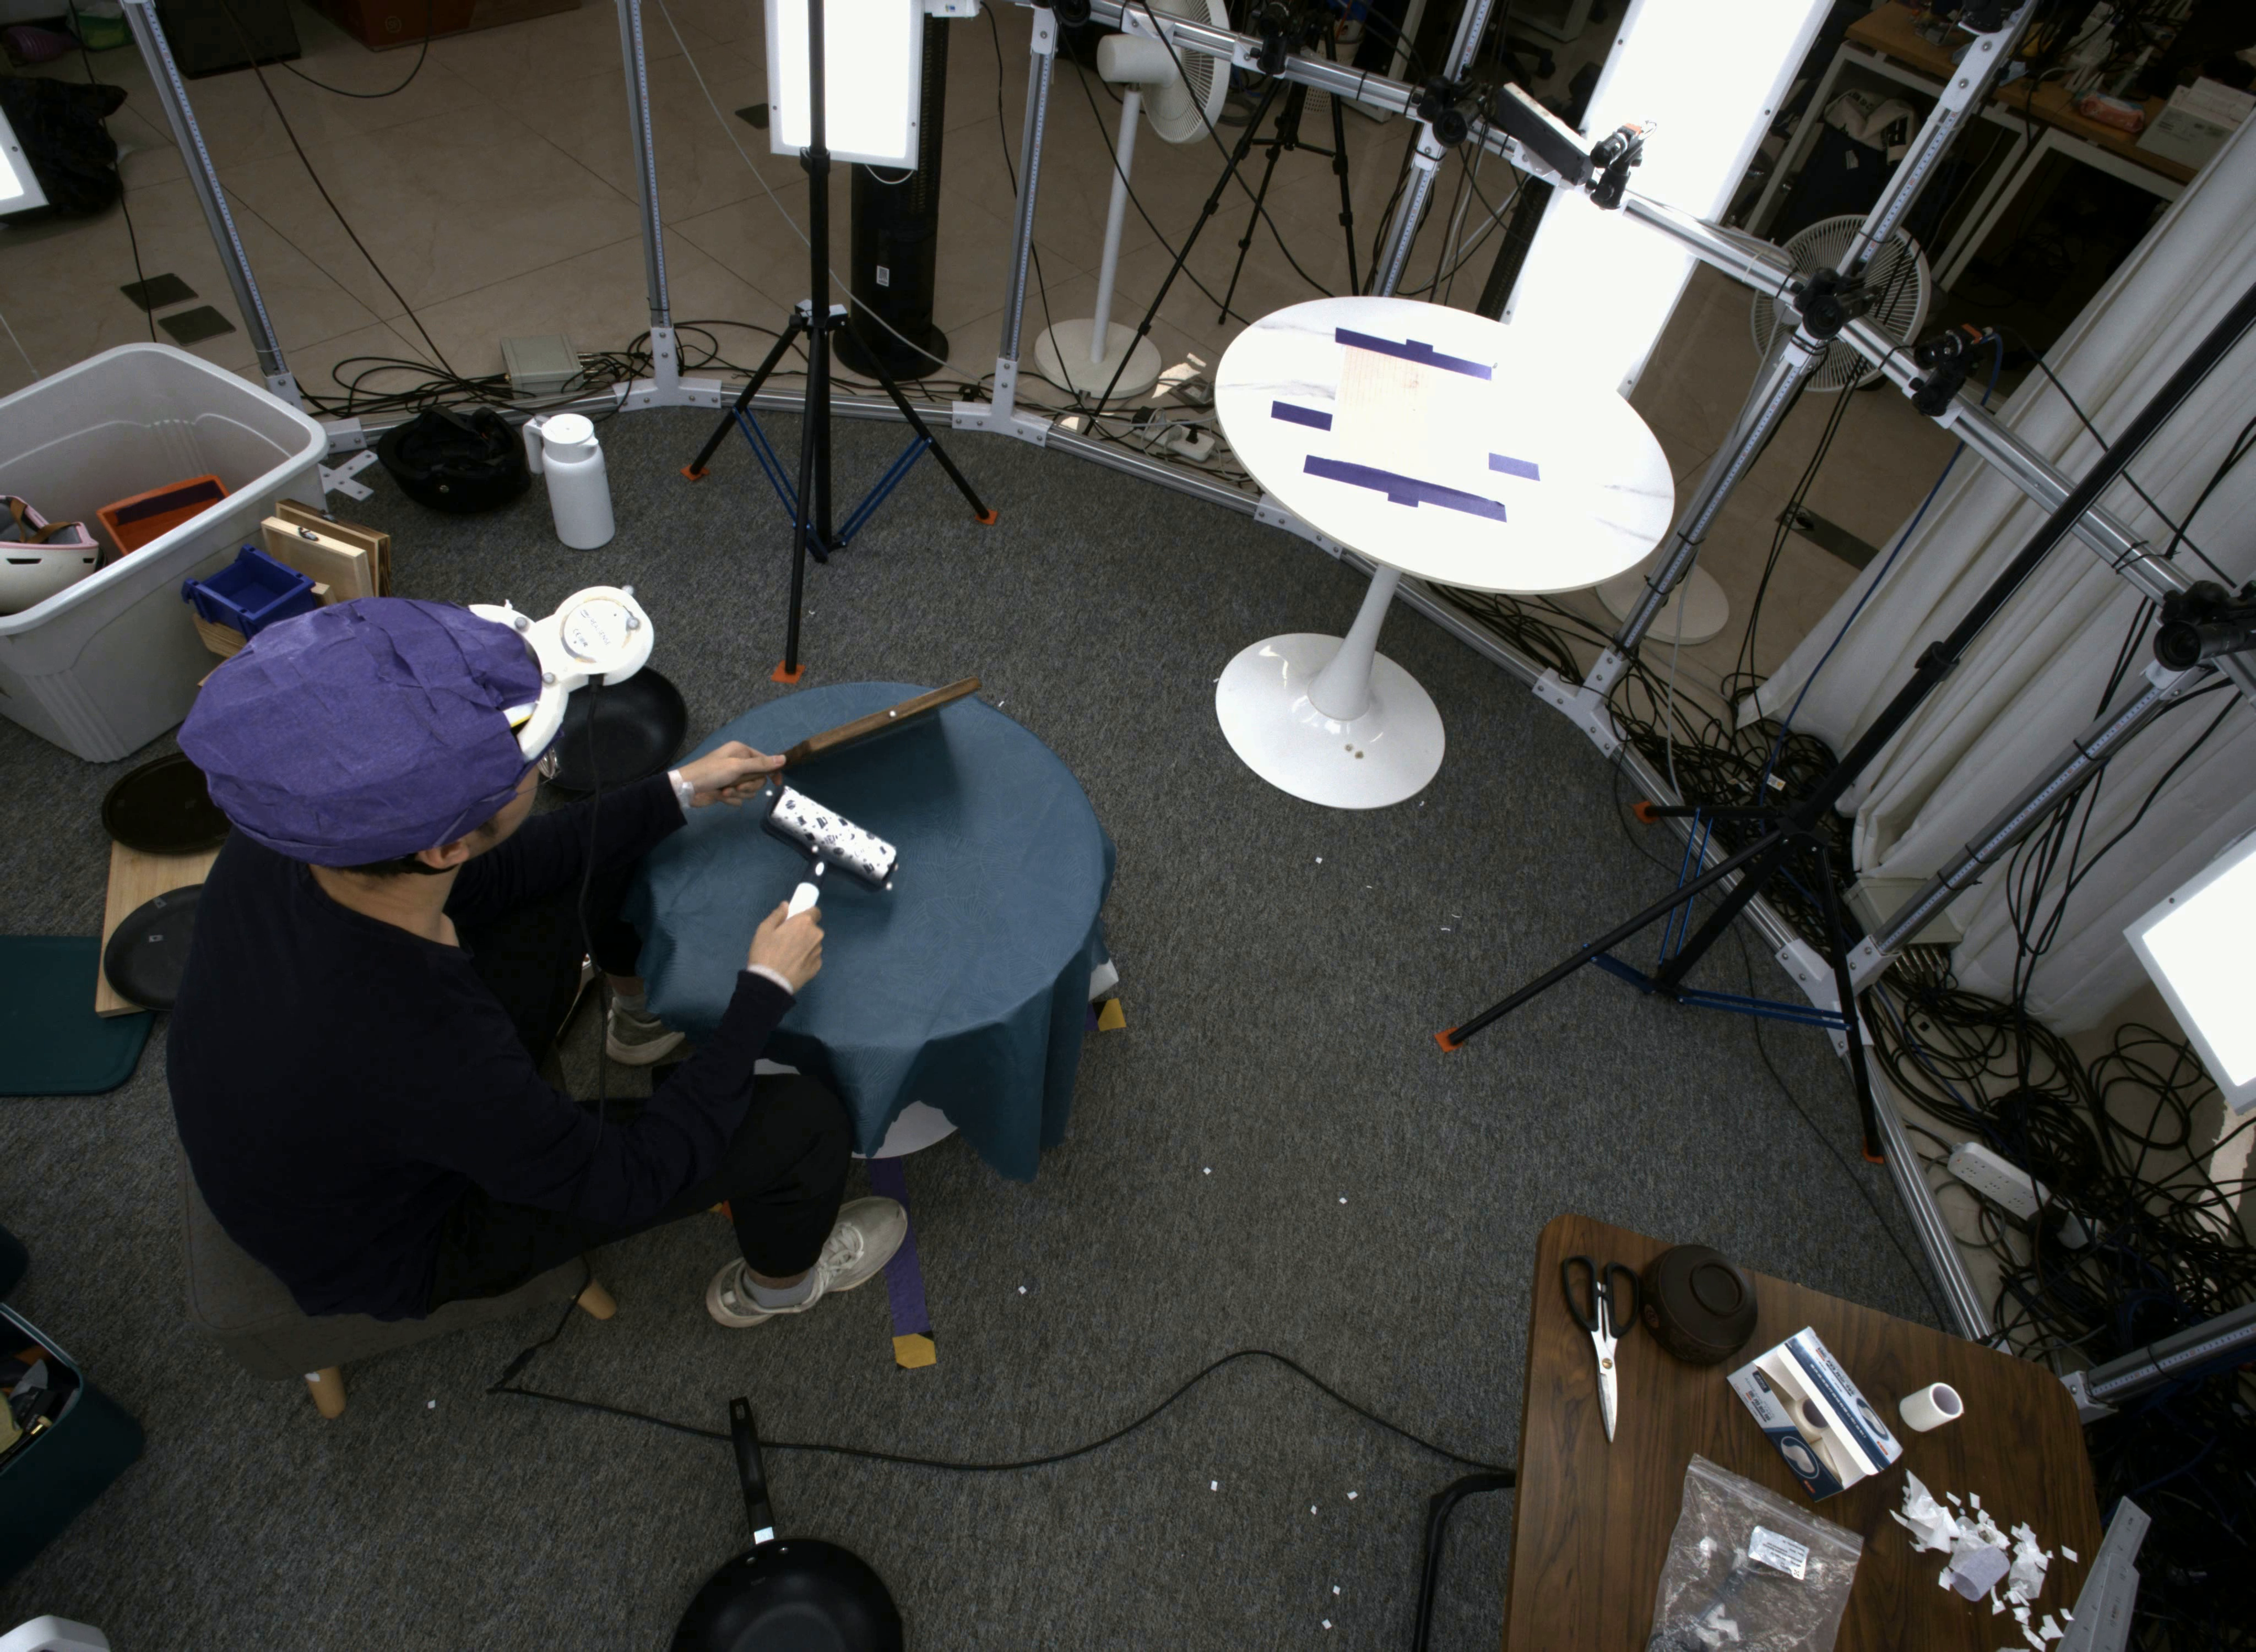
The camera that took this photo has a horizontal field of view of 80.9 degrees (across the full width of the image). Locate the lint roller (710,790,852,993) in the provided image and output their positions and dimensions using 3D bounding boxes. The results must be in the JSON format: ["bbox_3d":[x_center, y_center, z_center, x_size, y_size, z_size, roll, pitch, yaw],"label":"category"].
[{"bbox_3d":[-0.436,0.087,1.545,0.180,0.050,0.243,30,45,-25],"label":"lint roller"}]

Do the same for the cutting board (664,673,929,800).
[{"bbox_3d":[-0.443,-0.112,1.702,0.353,0.197,0.023,-27,96,-28],"label":"cutting board"}]
